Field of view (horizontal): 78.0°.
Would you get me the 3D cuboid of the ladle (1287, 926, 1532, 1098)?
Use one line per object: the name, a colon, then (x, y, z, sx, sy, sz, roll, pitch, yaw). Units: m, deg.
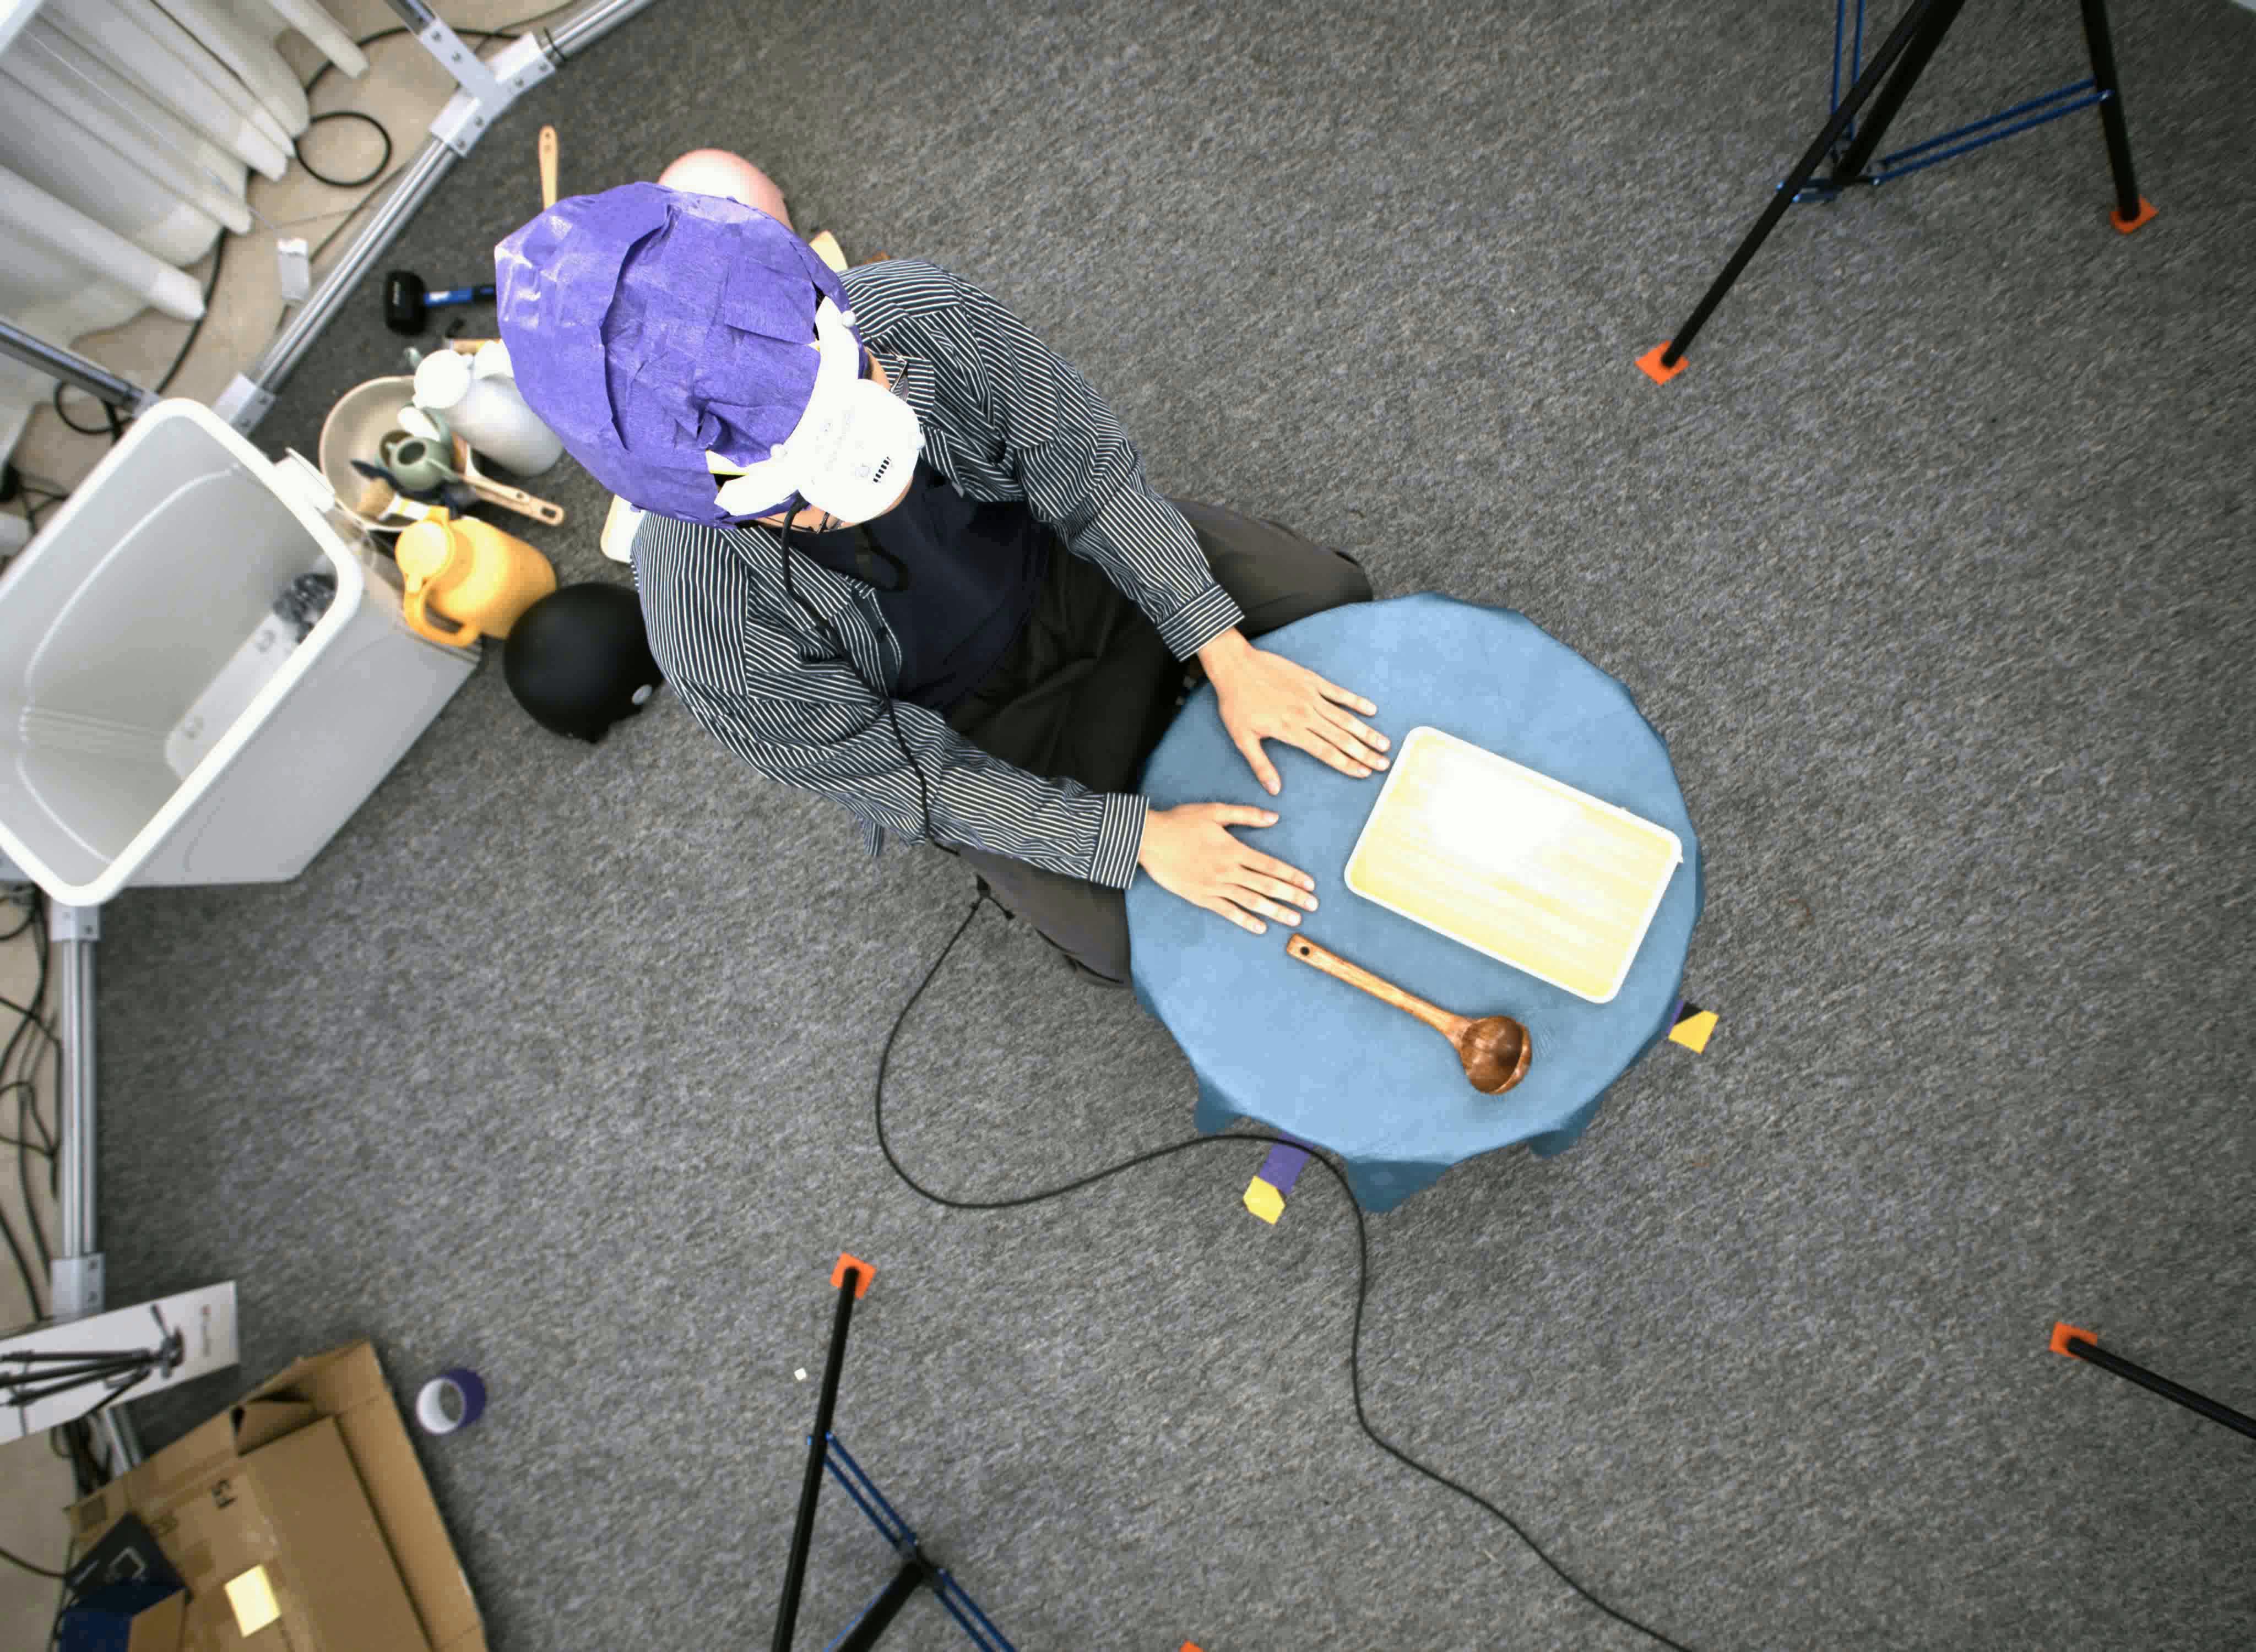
ladle: (0.280, 0.181, 1.404, 0.273, 0.076, 0.082, 29, 95, 10)

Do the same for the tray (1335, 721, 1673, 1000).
tray: (0.384, 0.032, 1.417, 0.300, 0.027, 0.192, 26, 92, 10)
